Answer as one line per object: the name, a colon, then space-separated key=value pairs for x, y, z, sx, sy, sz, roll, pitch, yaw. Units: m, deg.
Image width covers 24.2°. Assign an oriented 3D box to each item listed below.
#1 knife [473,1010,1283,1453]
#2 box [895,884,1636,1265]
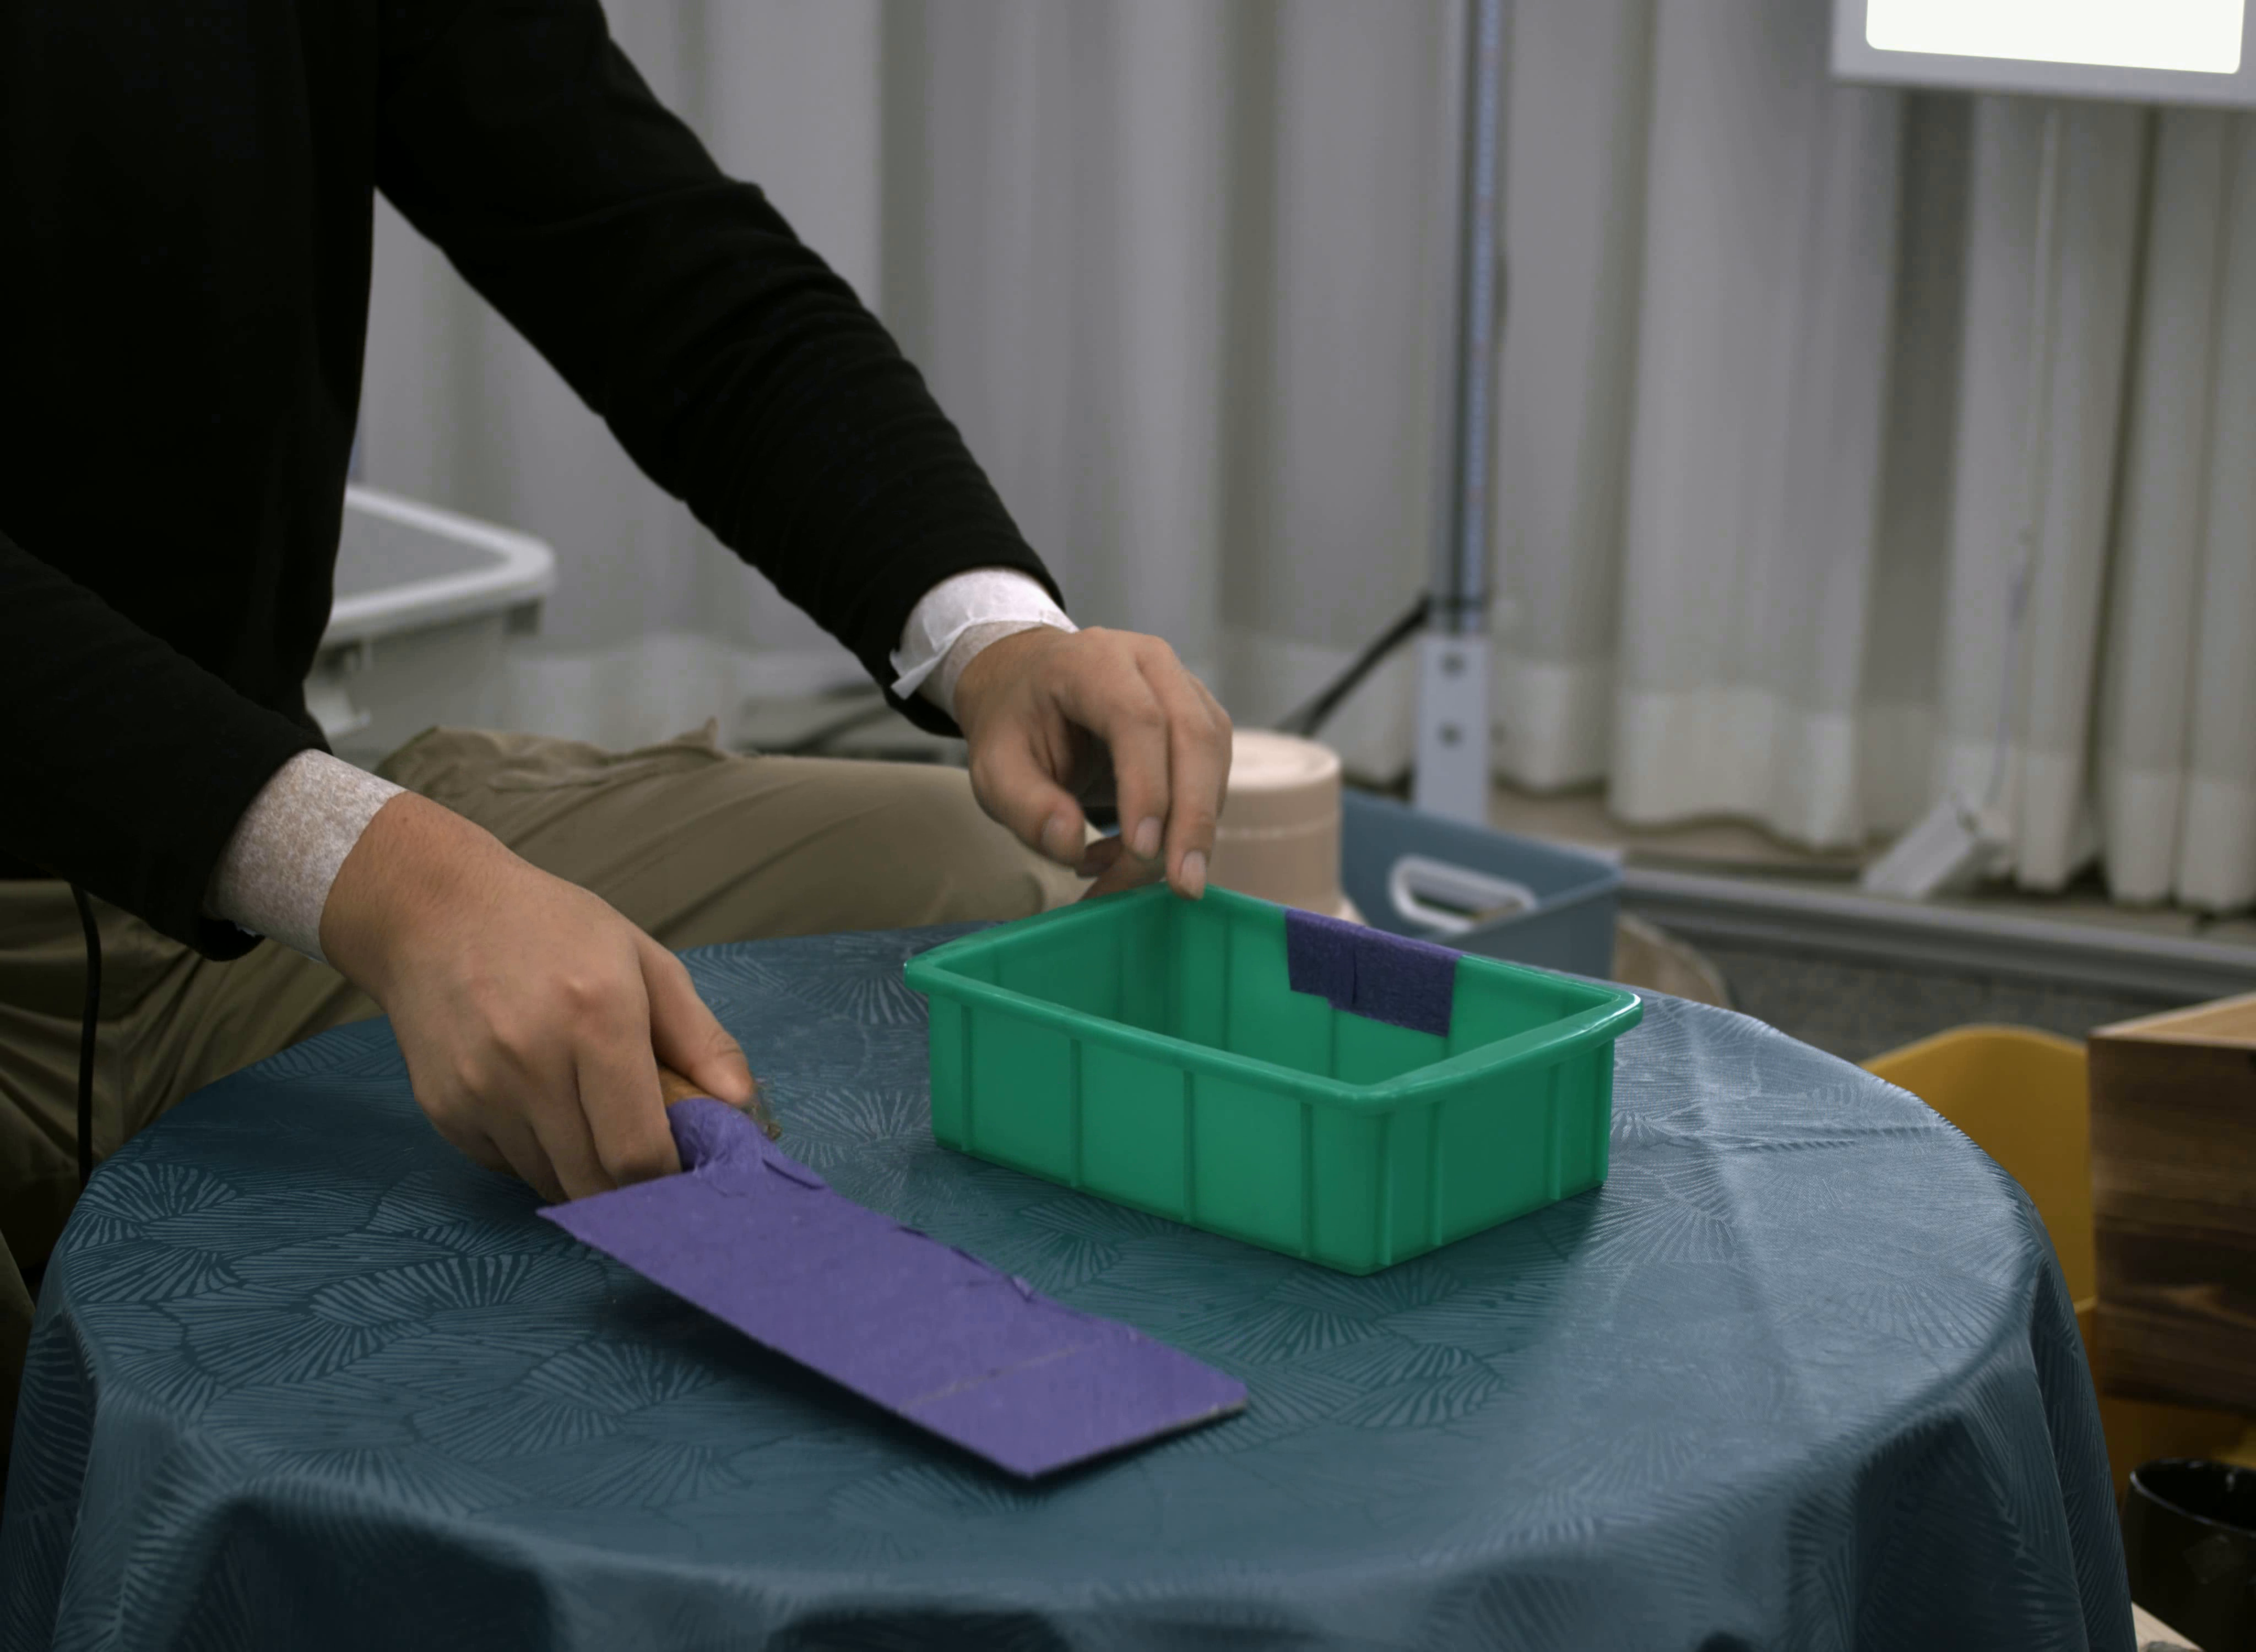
knife: x=-0.101 y=0.113 z=1.510 sx=0.311 sy=0.032 sz=0.104 roll=19 pitch=20 yaw=40
box: x=0.042 y=0.076 z=1.638 sx=0.208 sy=0.066 sz=0.139 roll=11 pitch=18 yaw=40
